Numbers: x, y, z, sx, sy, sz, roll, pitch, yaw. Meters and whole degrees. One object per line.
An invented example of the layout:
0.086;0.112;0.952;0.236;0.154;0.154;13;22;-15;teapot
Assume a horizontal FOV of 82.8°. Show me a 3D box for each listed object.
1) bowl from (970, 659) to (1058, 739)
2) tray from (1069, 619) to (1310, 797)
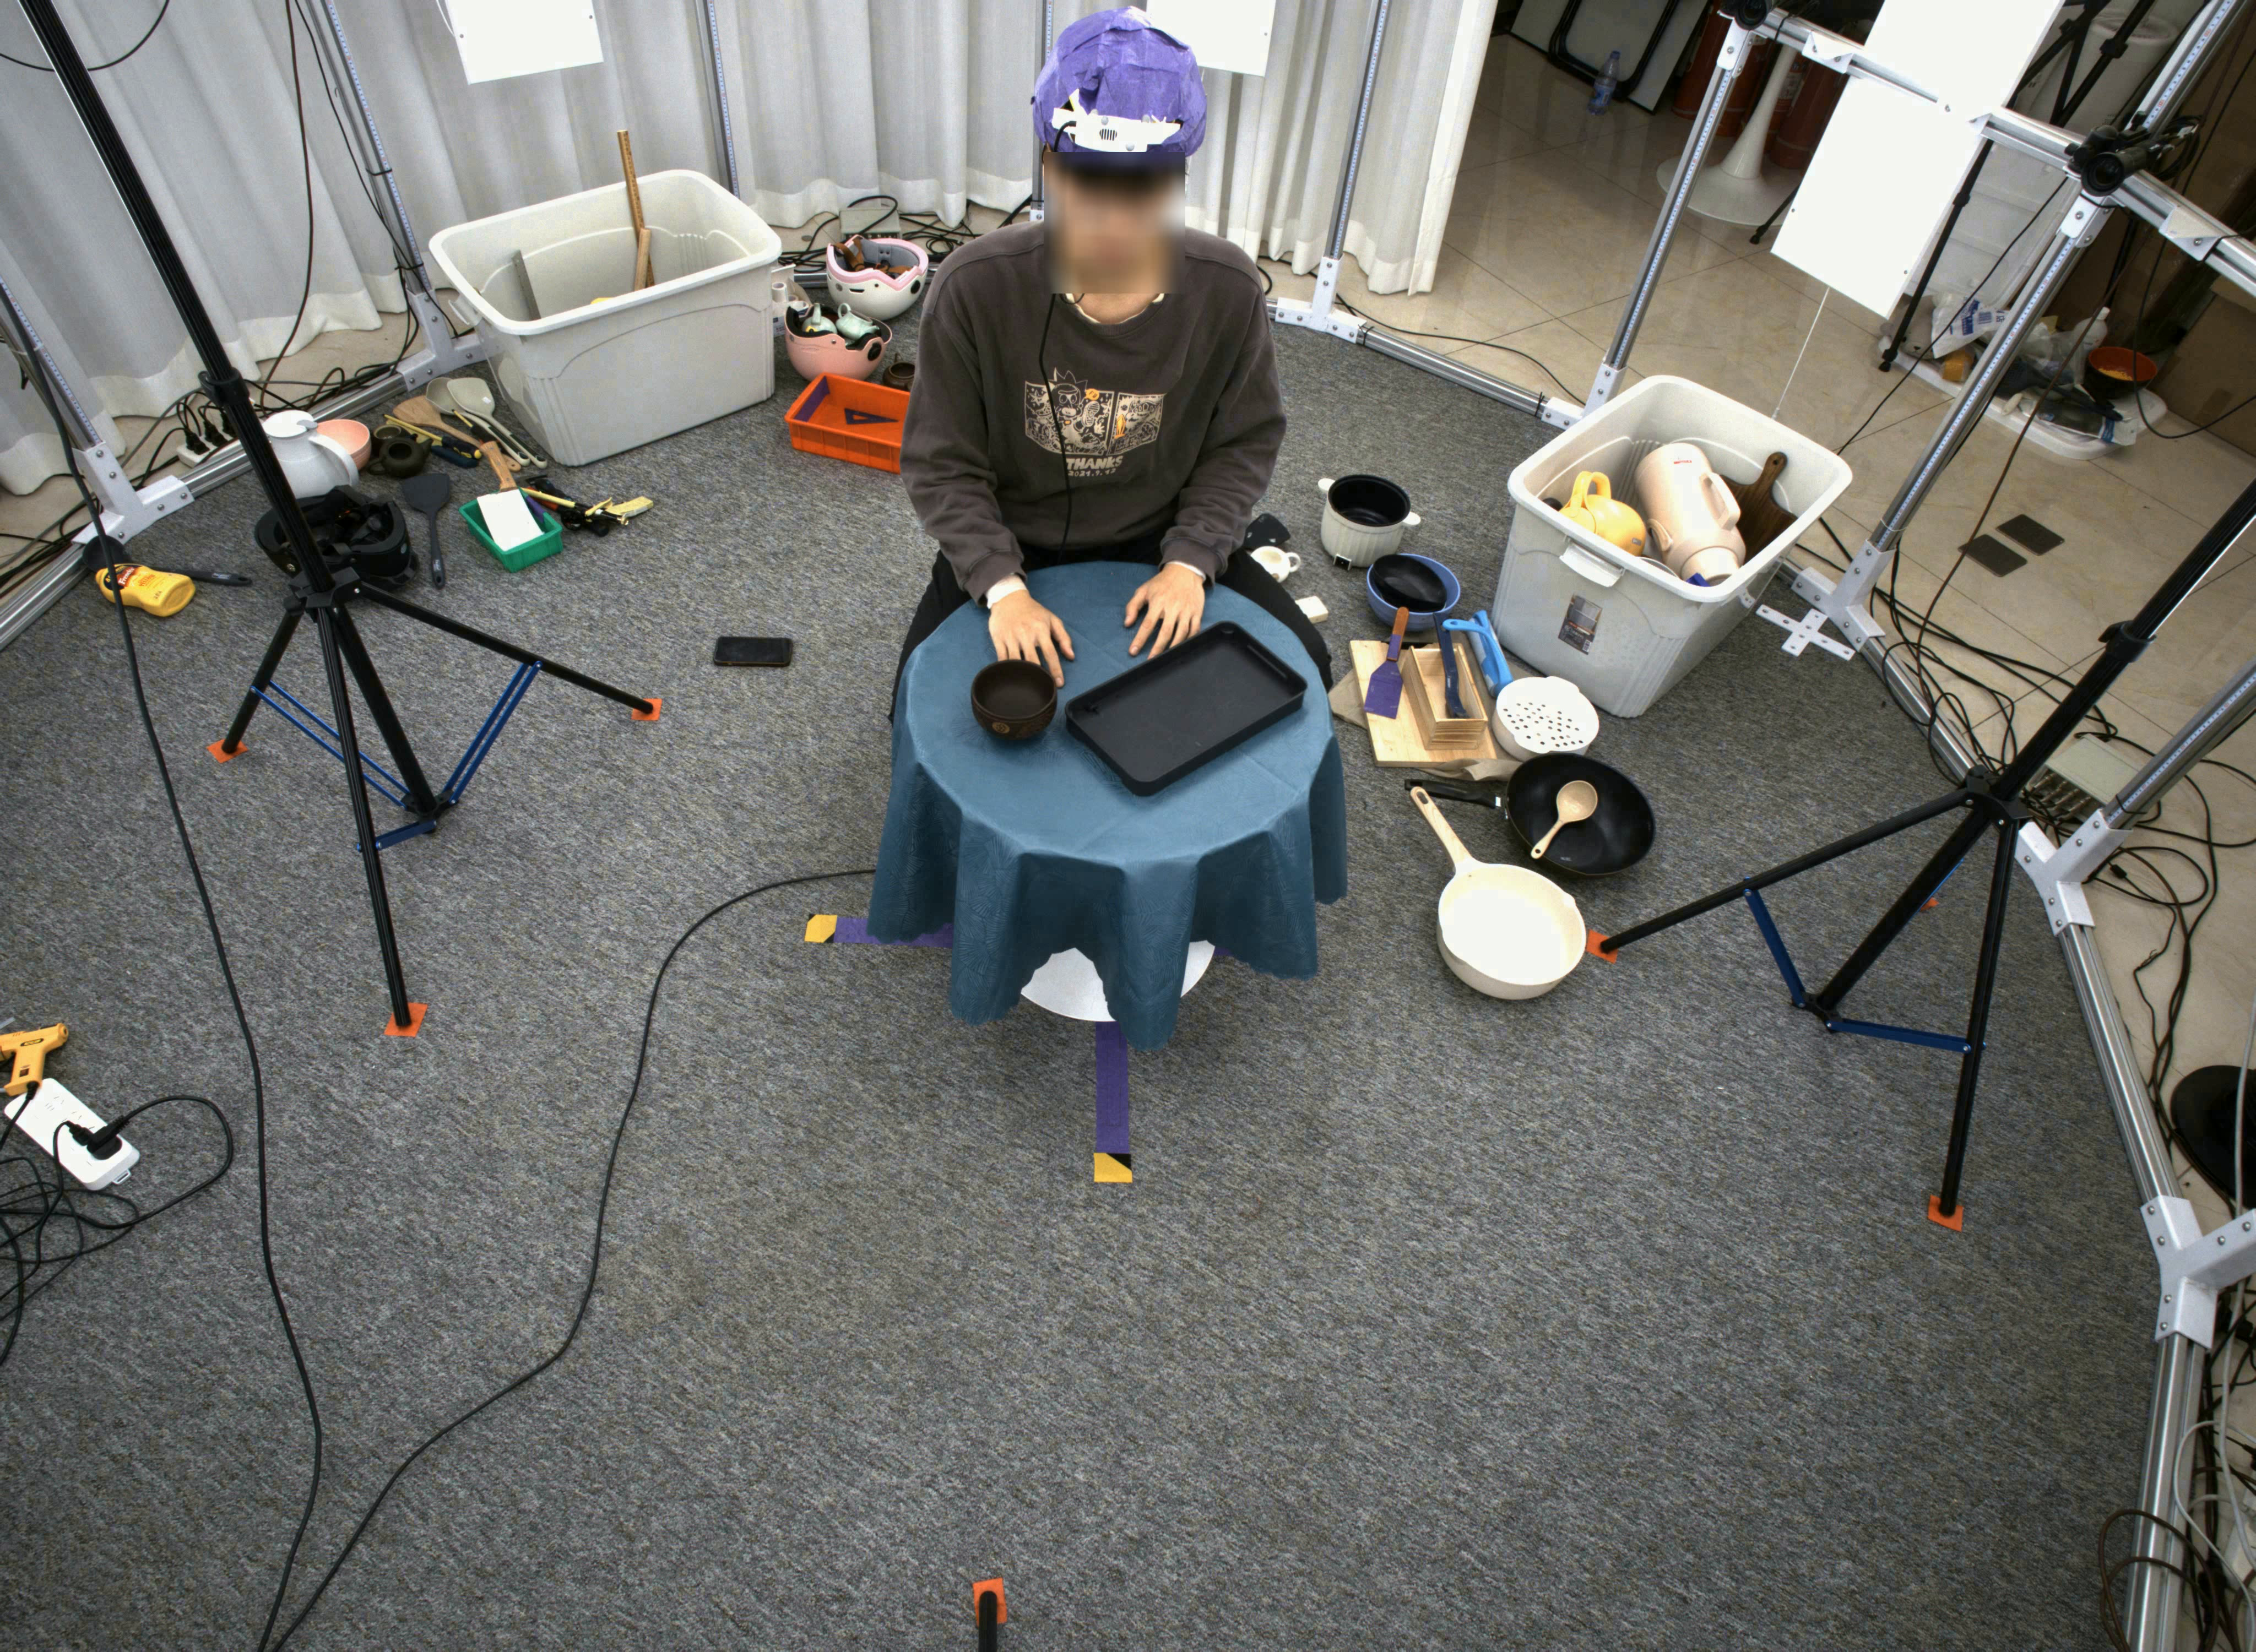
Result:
-0.155;-0.165;1.753;0.118;0.068;0.121;2;47;-2;bowl
0.088;-0.171;1.797;0.320;0.036;0.187;-32;57;-27;tray
